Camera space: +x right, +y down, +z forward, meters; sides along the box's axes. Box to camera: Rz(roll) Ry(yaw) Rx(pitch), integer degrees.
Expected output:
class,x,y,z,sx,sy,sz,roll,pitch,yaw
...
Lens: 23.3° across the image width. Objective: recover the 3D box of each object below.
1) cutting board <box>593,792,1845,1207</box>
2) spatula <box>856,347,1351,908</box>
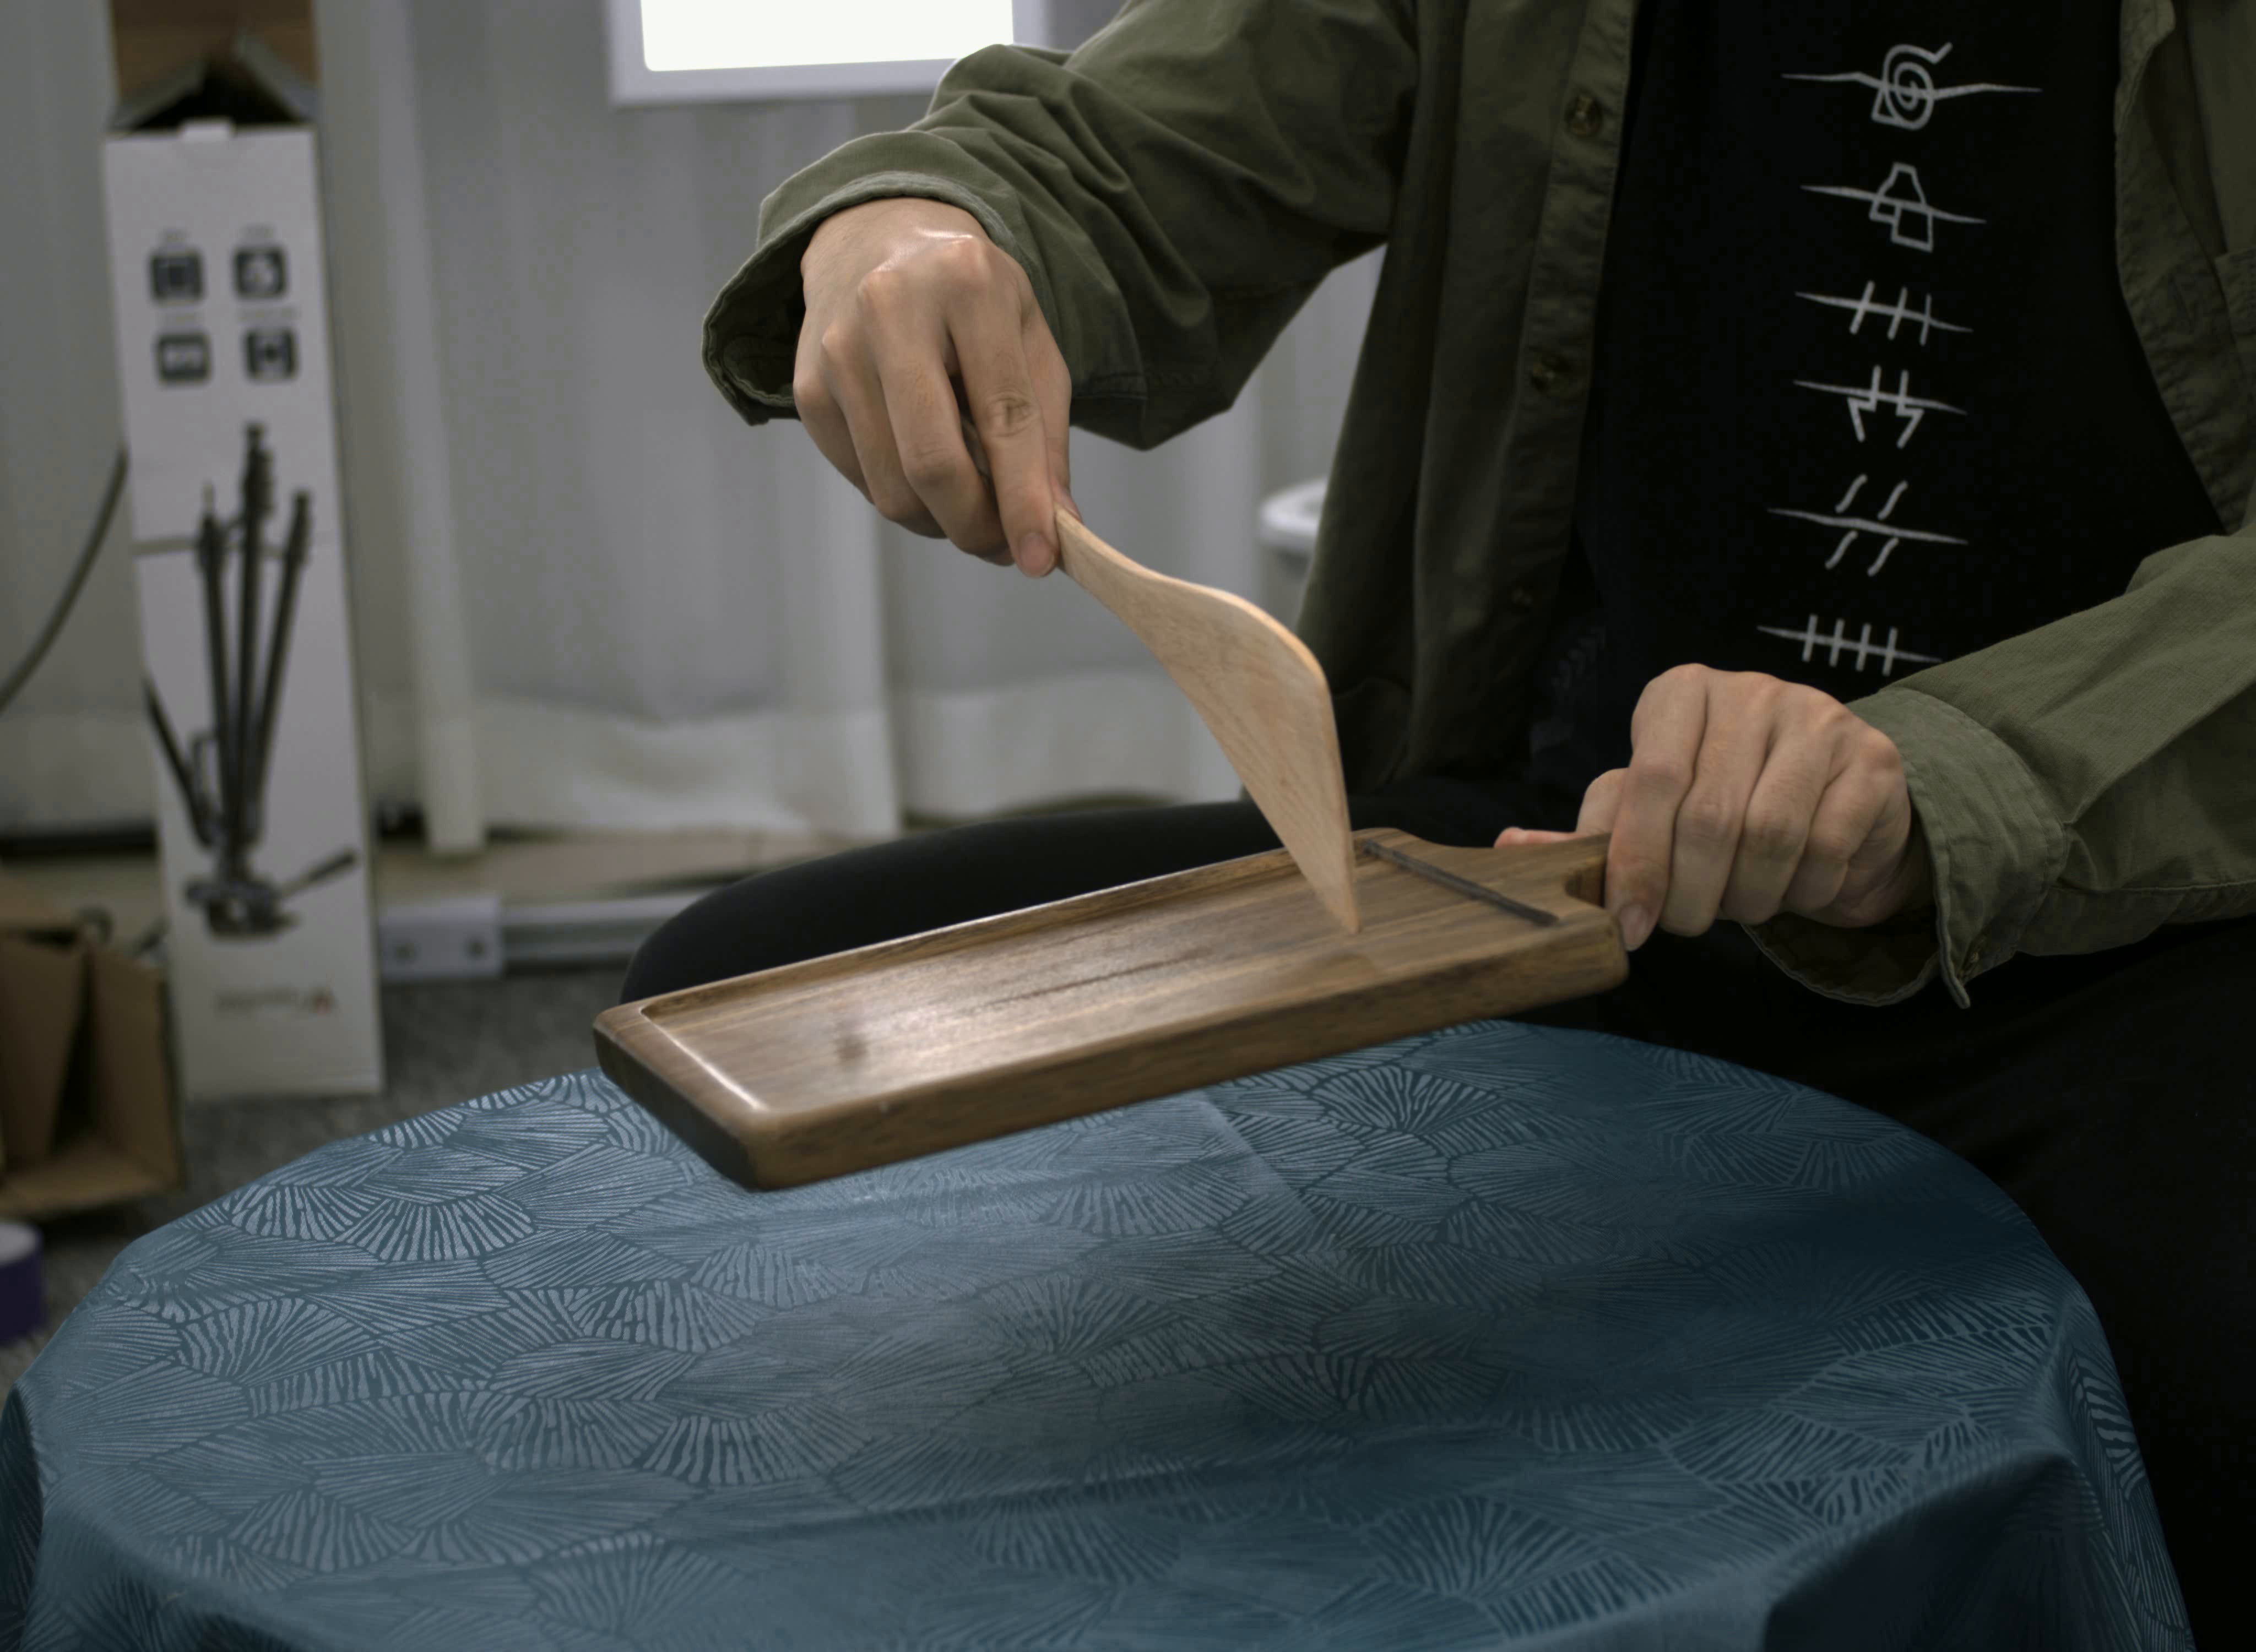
class,x,y,z,sx,sy,sz,roll,pitch,yaw
cutting board,0.037,0.039,1.523,0.351,0.023,0.202,-13,11,-14
spatula,-0.012,-0.077,1.609,0.016,0.079,0.331,-19,32,-21
